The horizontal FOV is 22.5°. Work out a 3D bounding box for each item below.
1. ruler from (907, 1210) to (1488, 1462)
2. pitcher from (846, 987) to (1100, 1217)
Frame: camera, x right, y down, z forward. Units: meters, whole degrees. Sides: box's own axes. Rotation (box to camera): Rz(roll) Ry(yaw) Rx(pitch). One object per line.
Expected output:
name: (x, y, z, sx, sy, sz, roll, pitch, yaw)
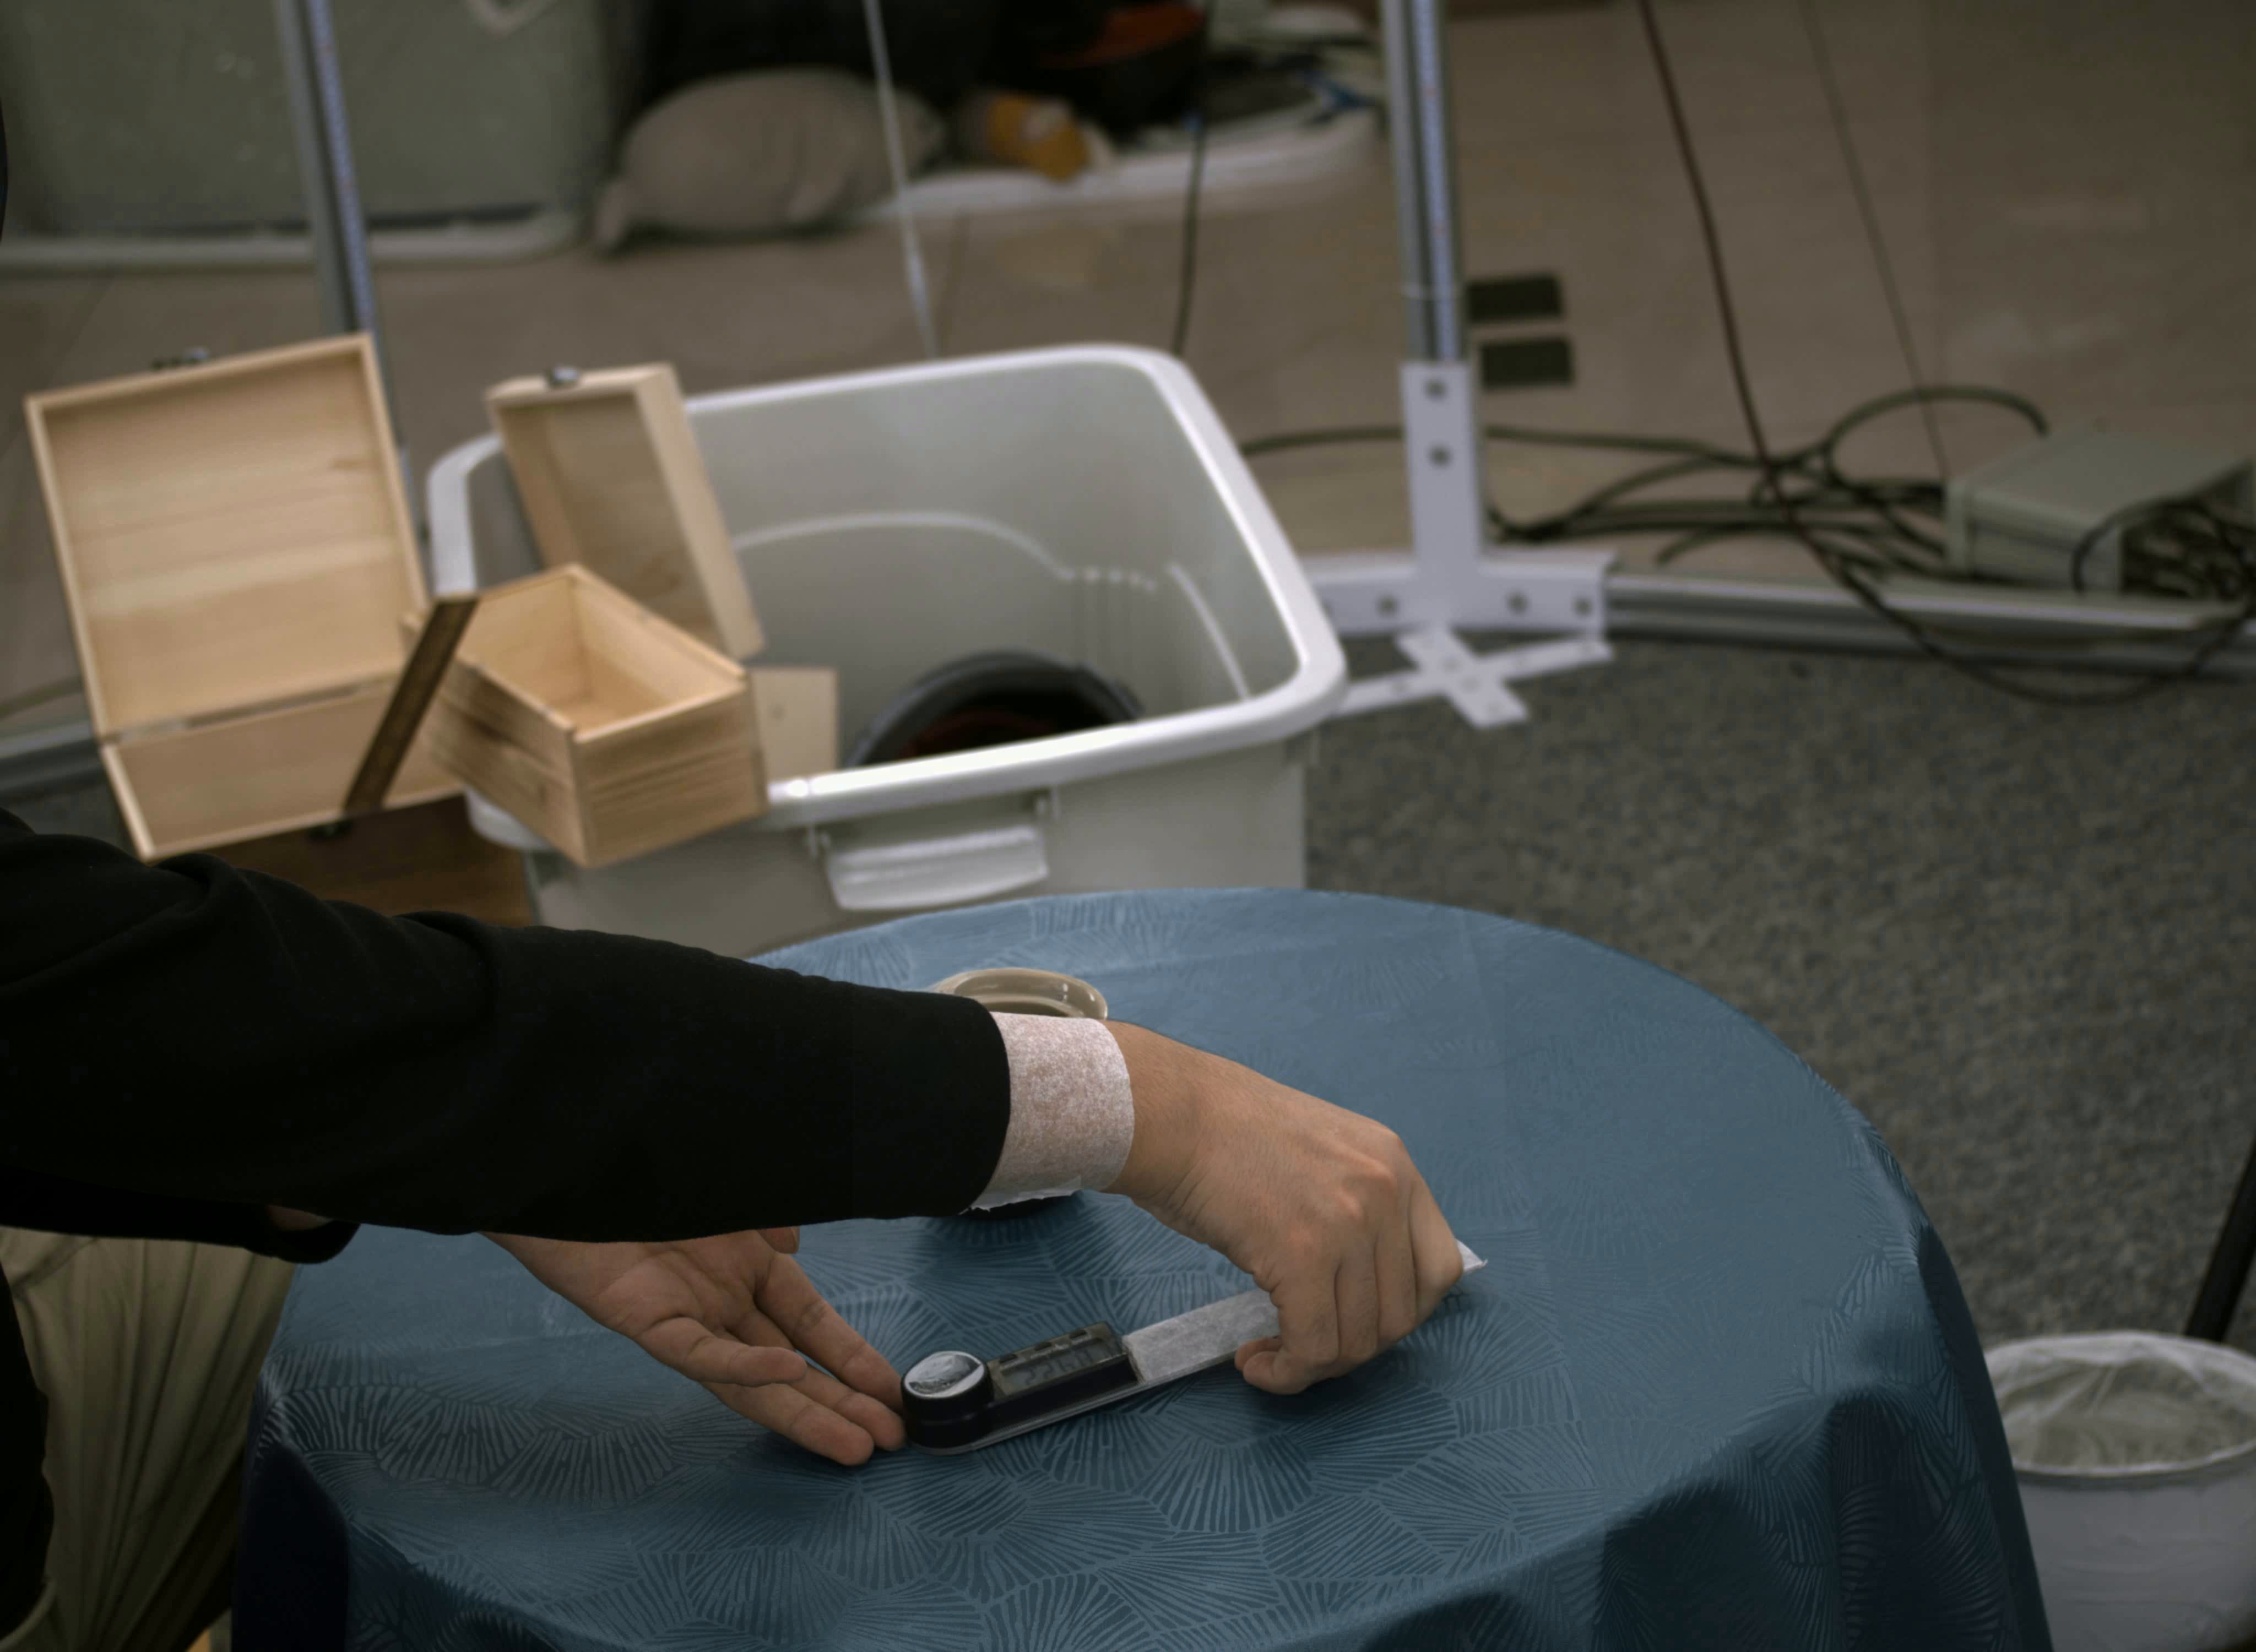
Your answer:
ruler: (0.023, 0.176, 2.022, 0.217, 0.024, 0.038, -19, 35, -15)
pitcher: (-0.056, 0.106, 2.145, 0.096, 0.072, 0.082, -6, 26, -2)
